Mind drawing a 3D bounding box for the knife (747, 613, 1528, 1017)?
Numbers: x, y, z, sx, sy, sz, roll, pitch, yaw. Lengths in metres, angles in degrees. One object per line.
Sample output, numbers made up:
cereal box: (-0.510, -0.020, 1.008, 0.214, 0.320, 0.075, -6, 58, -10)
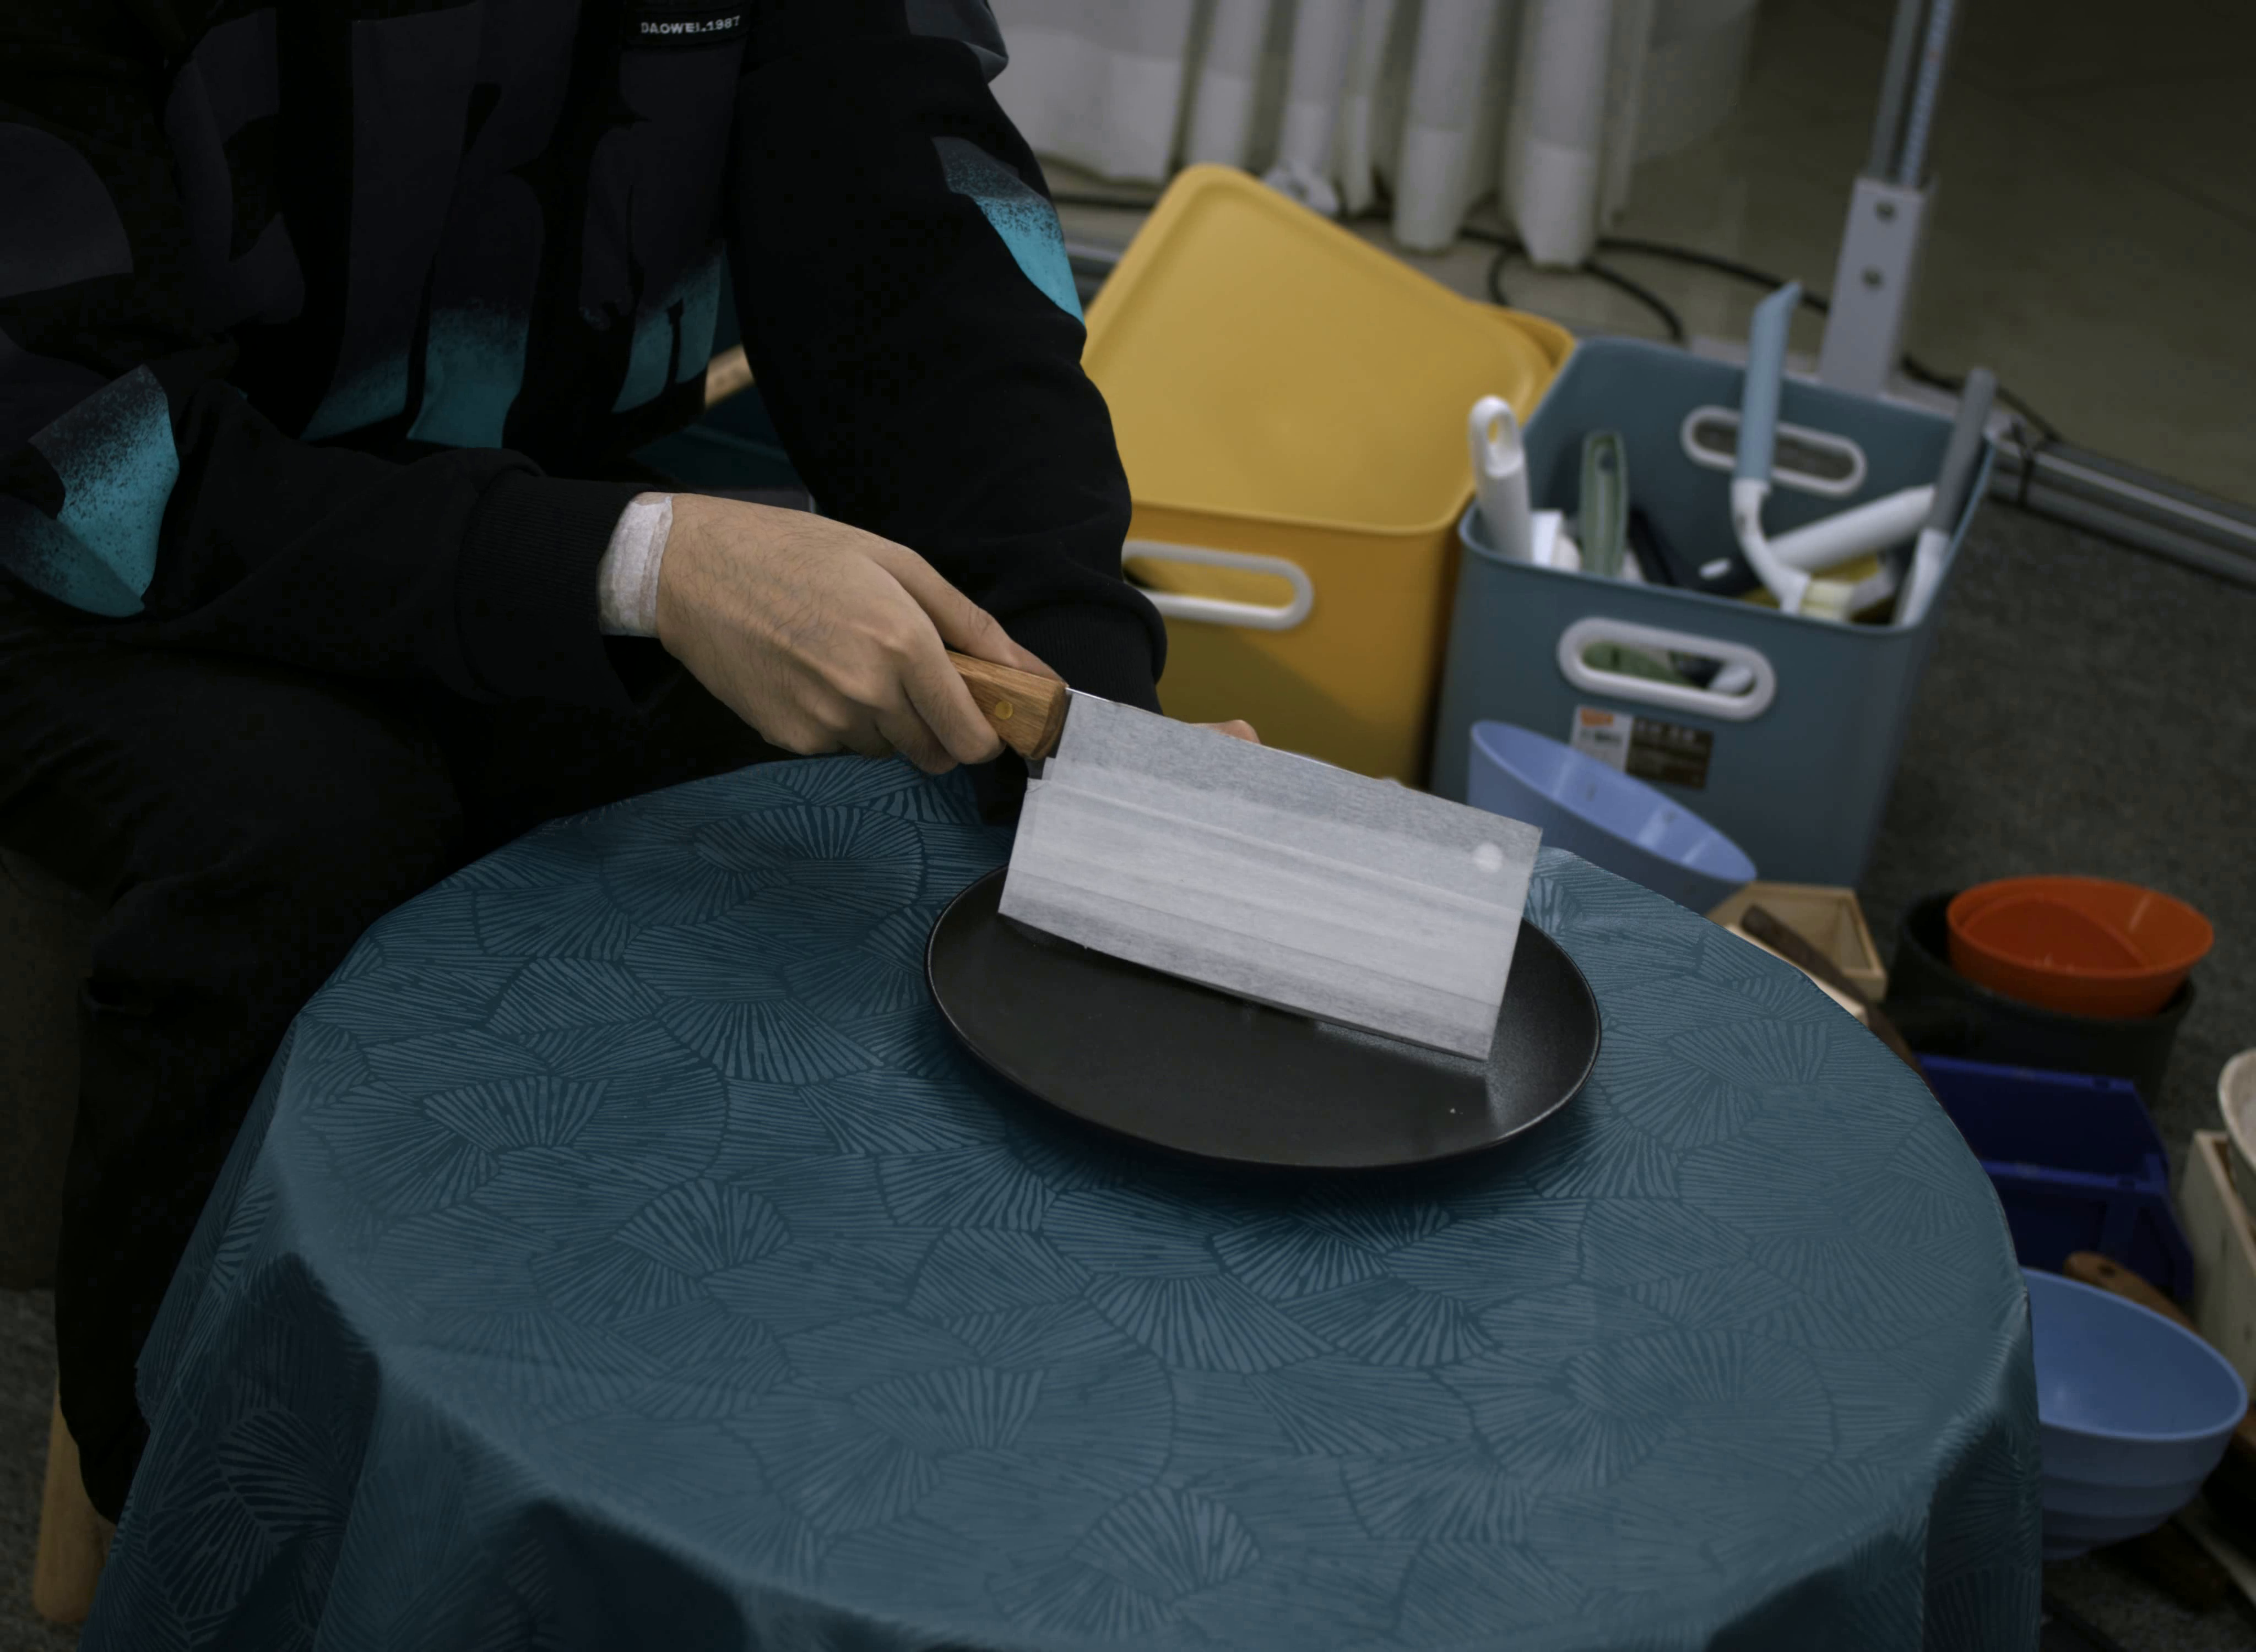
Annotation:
knife: (-0.004, -0.001, 1.912, 0.306, 0.093, 0.021, 17, 16, 18)

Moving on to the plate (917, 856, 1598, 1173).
plate: (0.046, 0.067, 1.897, 0.243, 0.023, 0.246, 5, 27, -3)
